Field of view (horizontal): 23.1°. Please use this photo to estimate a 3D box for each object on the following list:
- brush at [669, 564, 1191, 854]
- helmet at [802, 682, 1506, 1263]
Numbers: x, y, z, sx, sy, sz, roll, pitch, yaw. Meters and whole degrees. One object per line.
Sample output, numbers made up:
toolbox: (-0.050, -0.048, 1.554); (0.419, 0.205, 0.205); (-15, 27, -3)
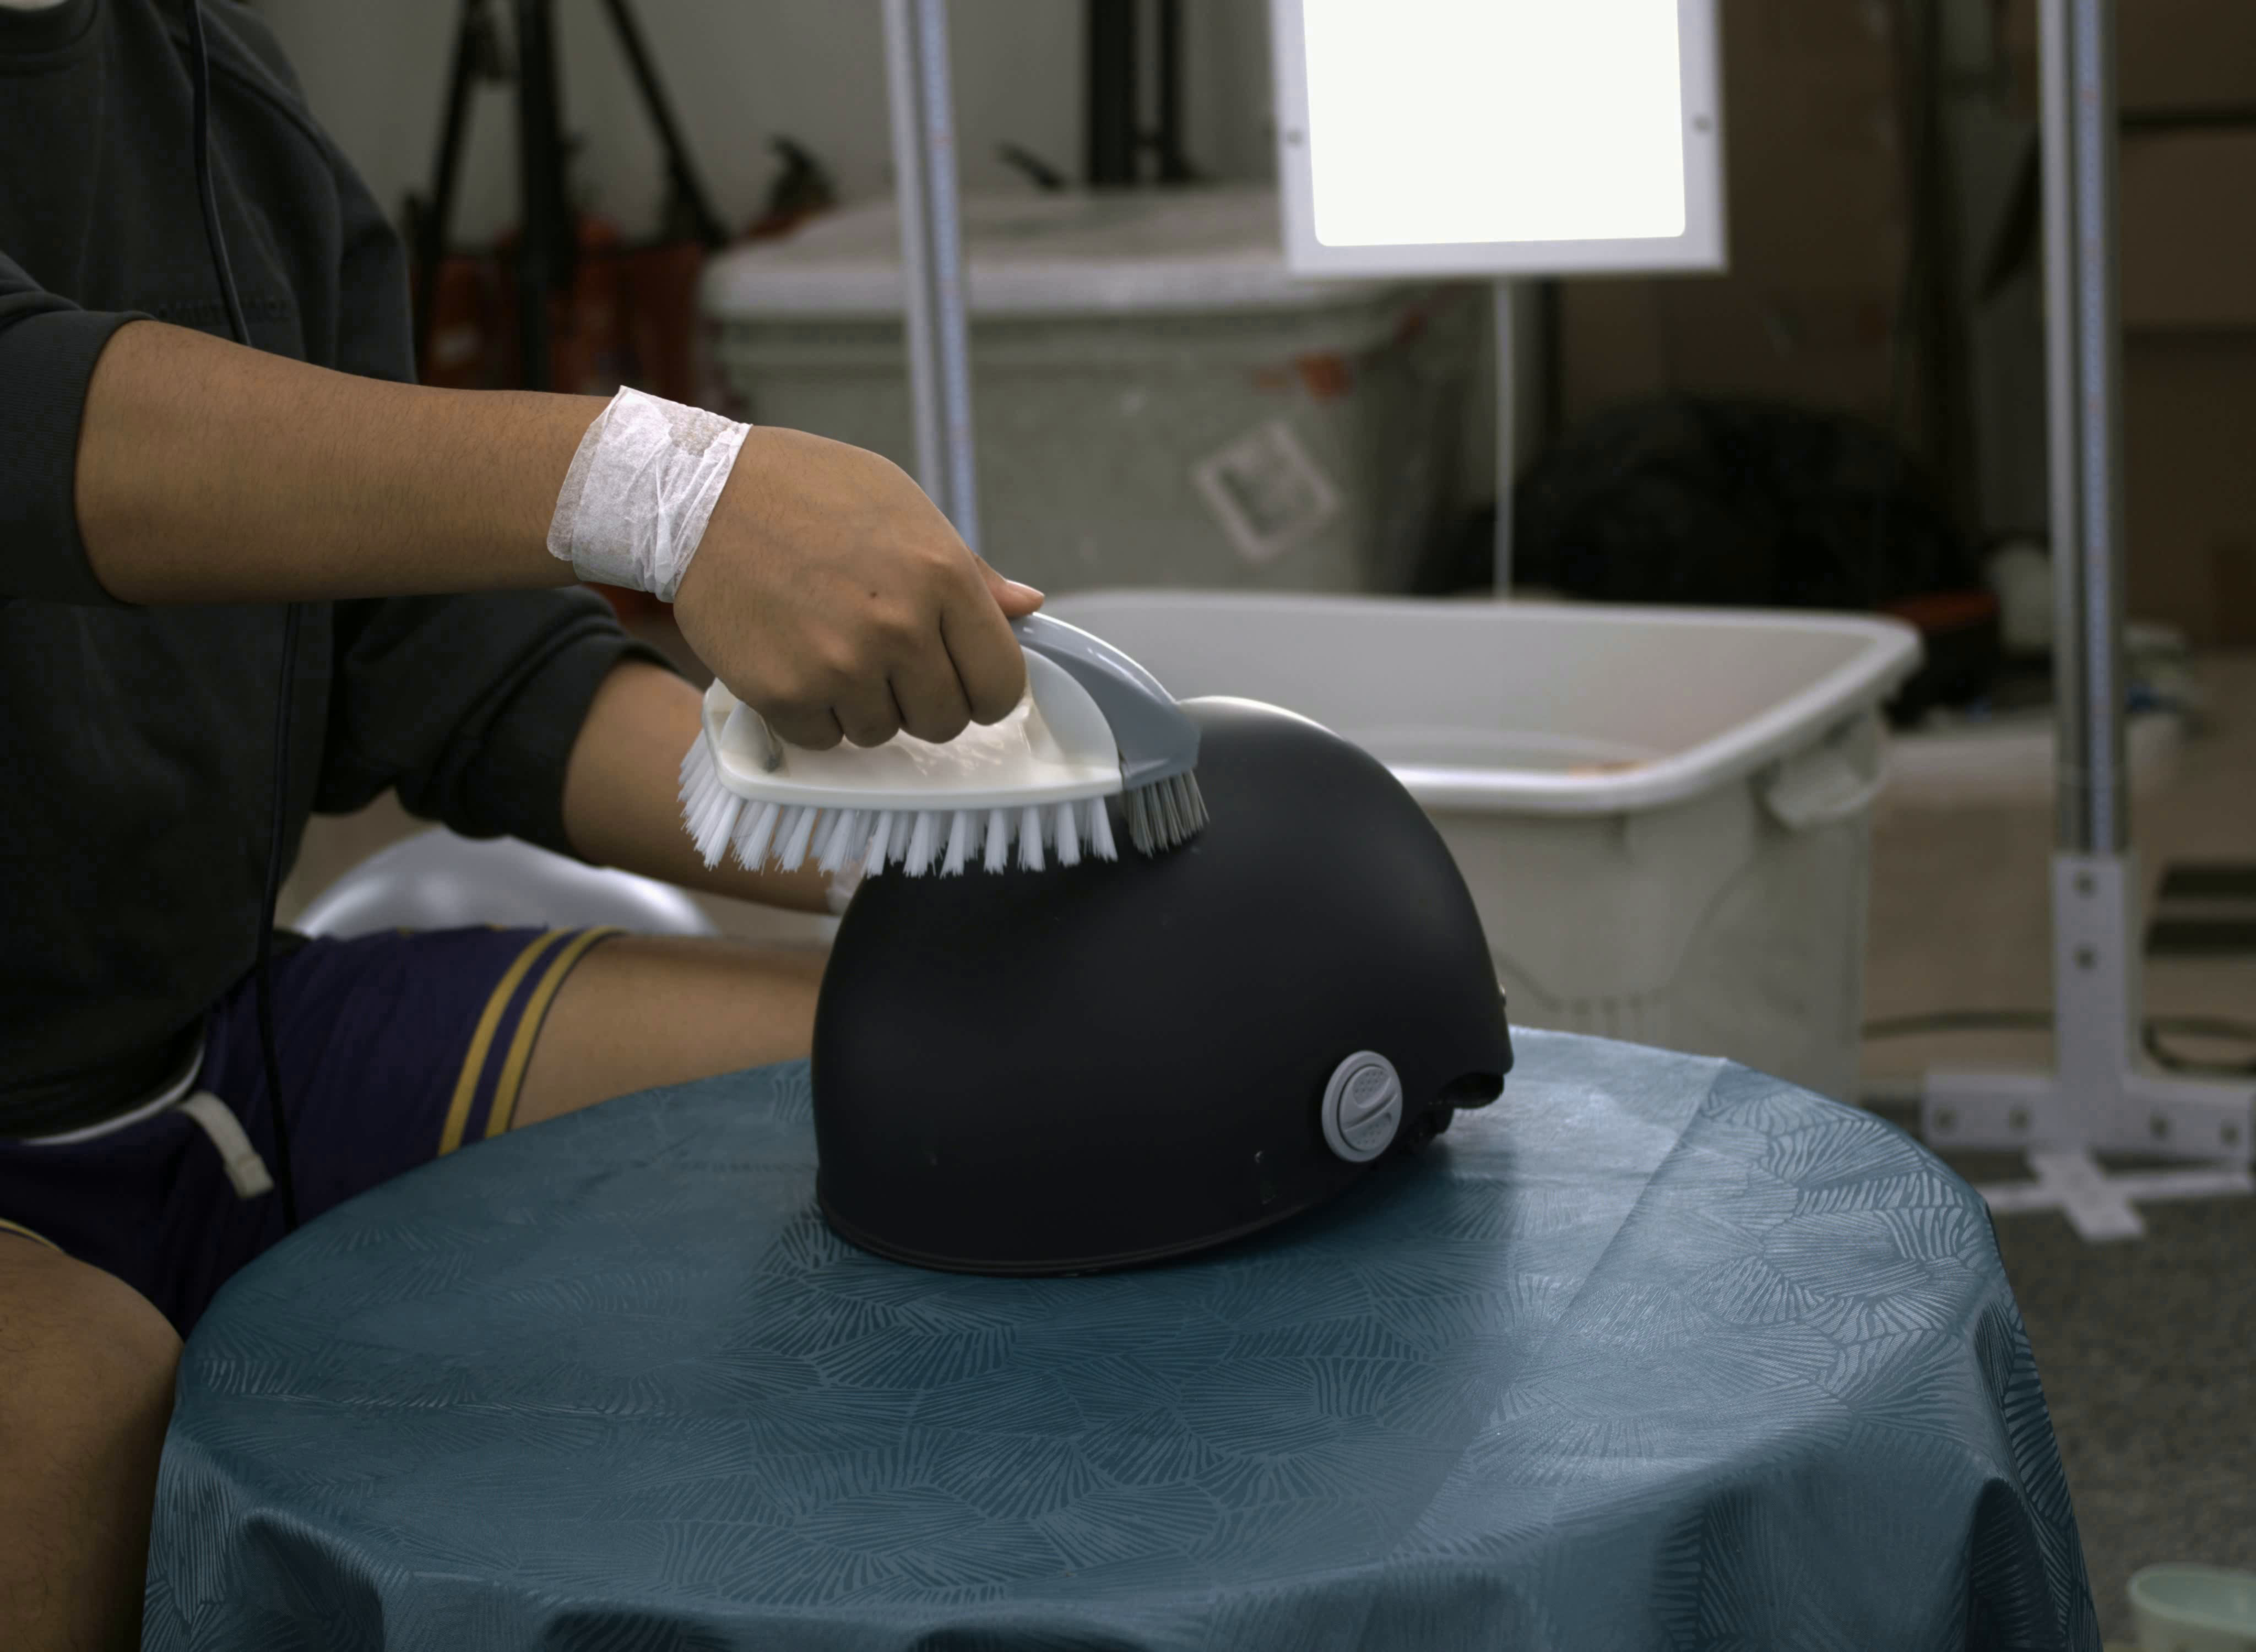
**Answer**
brush: (-0.055, -0.041, 1.788); (0.173, 0.095, 0.061); (6, 37, -16)
helmet: (0.003, 0.040, 1.914); (0.235, 0.167, 0.266); (5, 19, 37)
